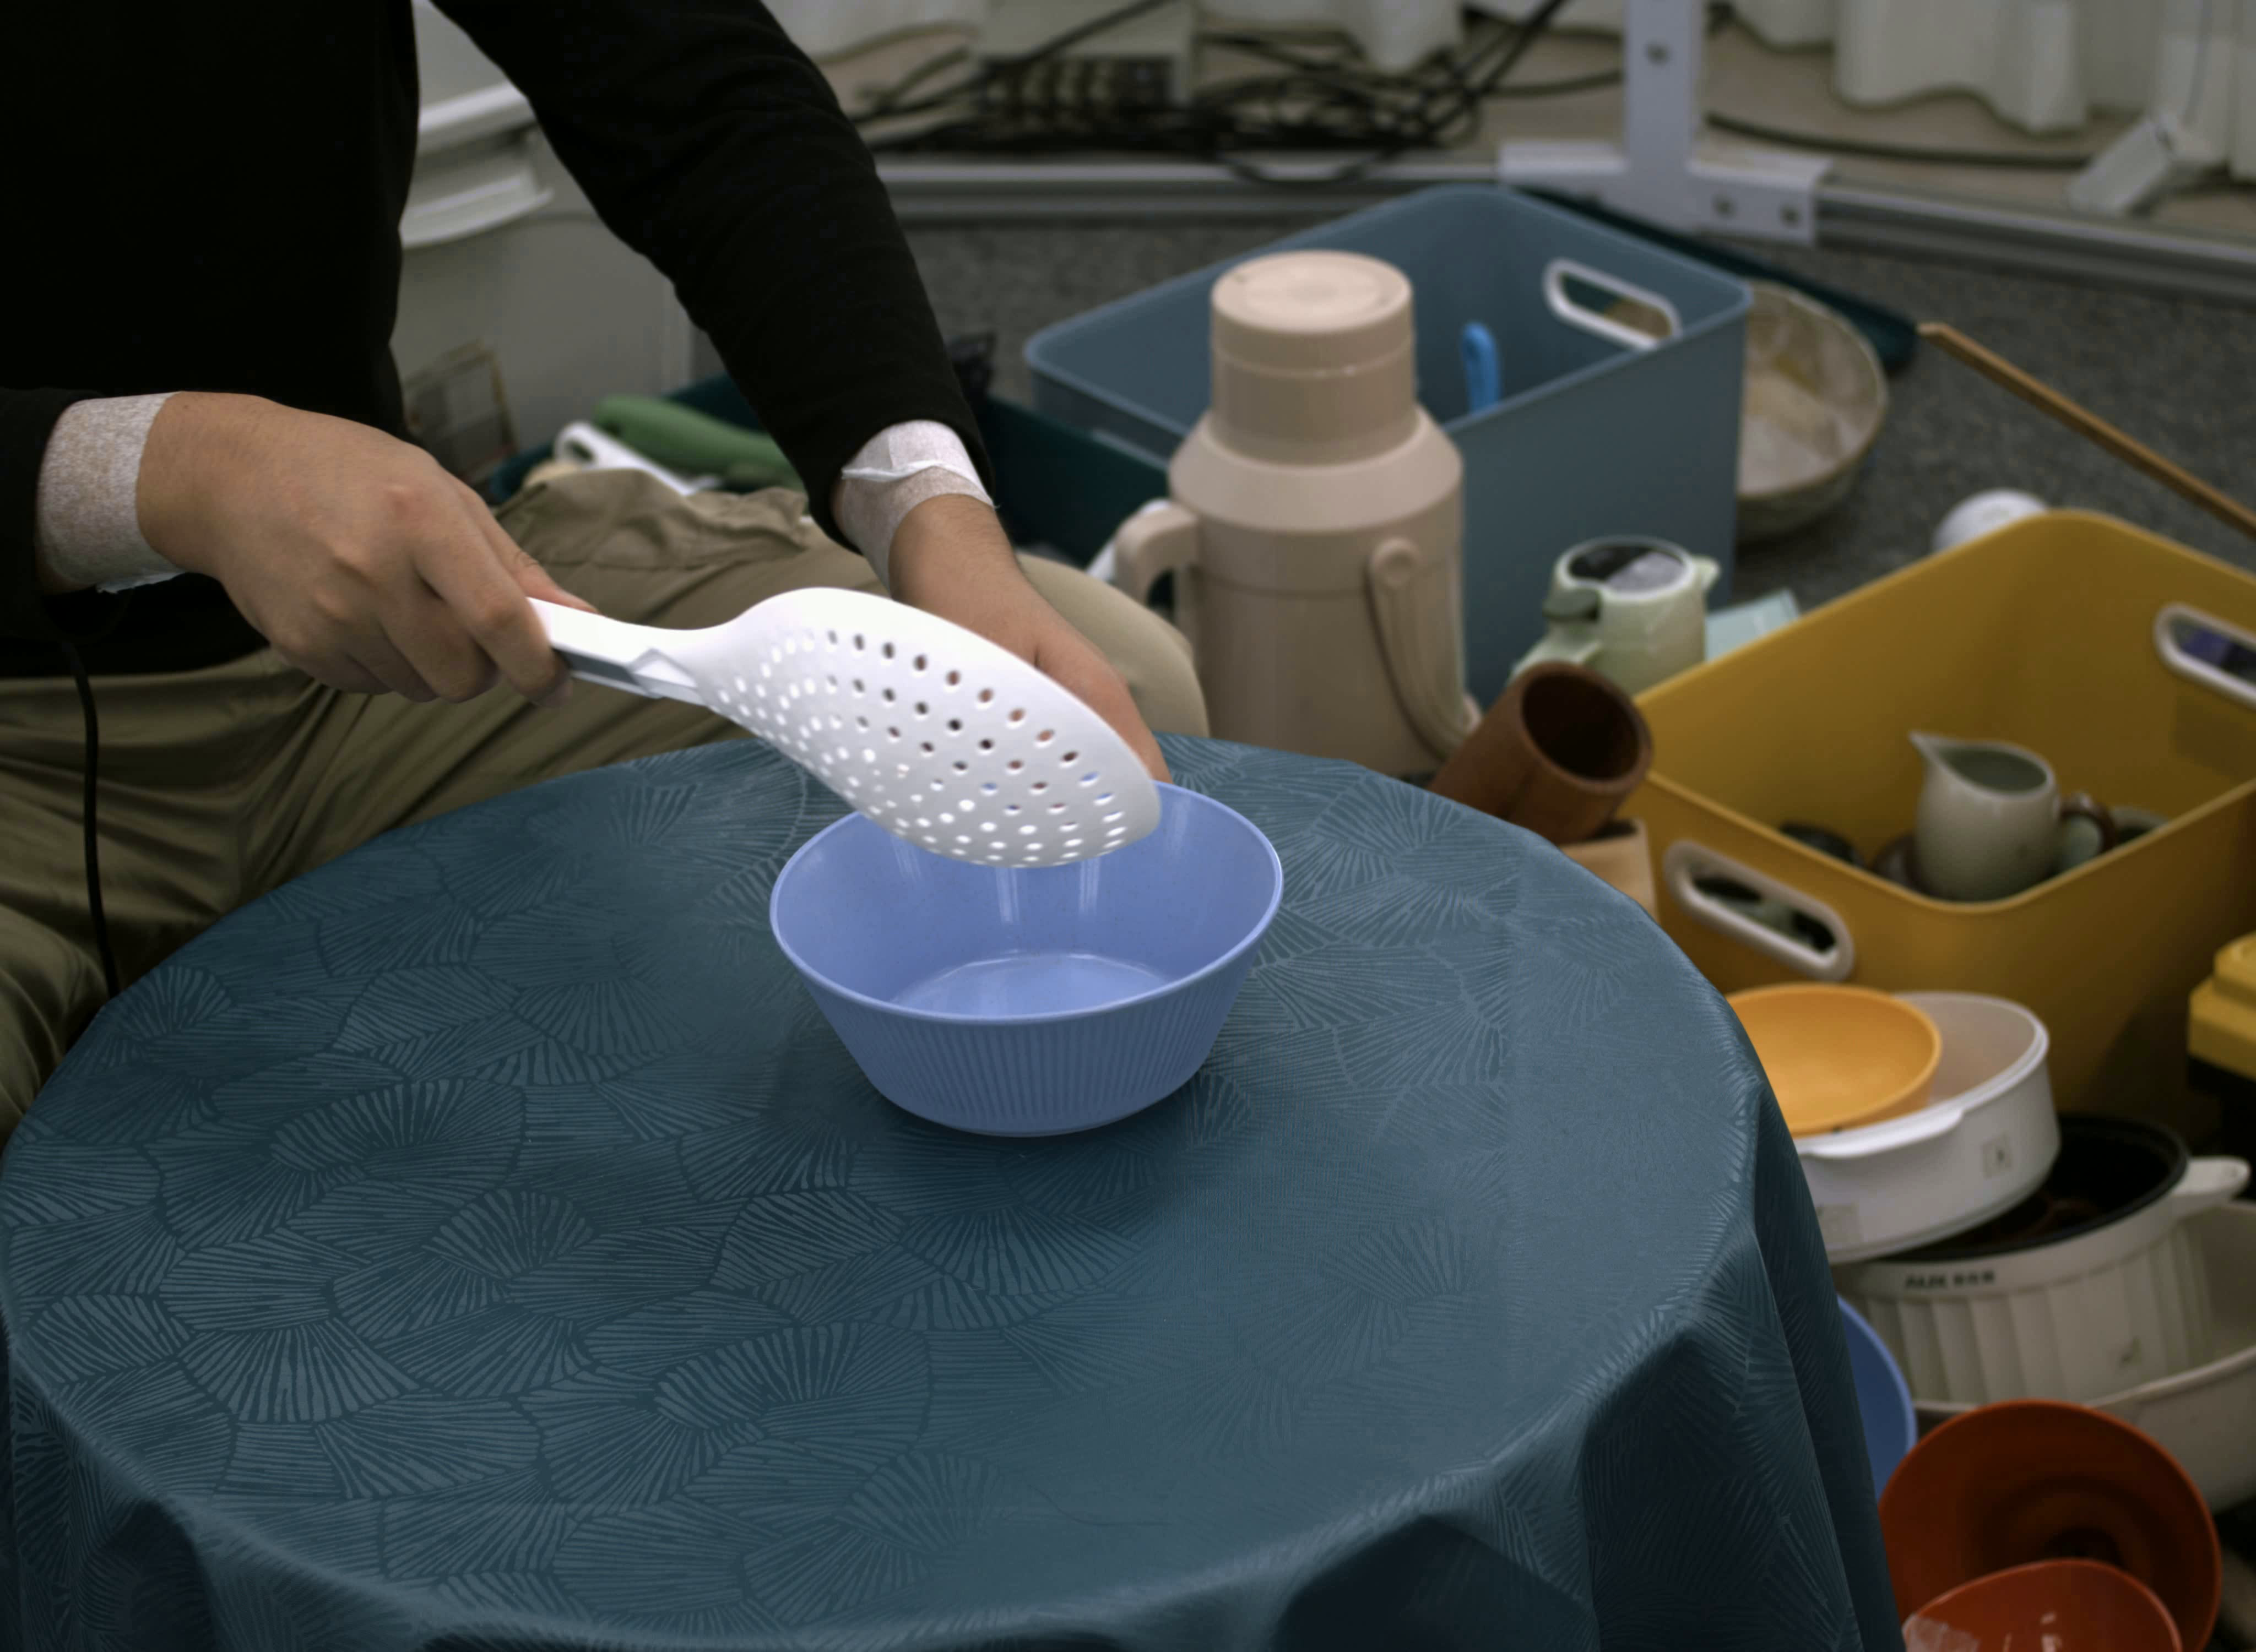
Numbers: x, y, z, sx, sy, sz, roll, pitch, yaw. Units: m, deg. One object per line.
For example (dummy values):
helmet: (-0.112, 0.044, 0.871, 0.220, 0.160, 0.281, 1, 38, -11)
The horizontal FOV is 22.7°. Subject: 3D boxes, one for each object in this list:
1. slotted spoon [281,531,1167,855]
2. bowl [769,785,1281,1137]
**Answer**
slotted spoon: (-0.138, -0.053, 1.785, 0.348, 0.134, 0.046, 19, 68, 36)
bowl: (-0.033, 0.050, 1.928, 0.175, 0.069, 0.178, -3, 26, 2)
